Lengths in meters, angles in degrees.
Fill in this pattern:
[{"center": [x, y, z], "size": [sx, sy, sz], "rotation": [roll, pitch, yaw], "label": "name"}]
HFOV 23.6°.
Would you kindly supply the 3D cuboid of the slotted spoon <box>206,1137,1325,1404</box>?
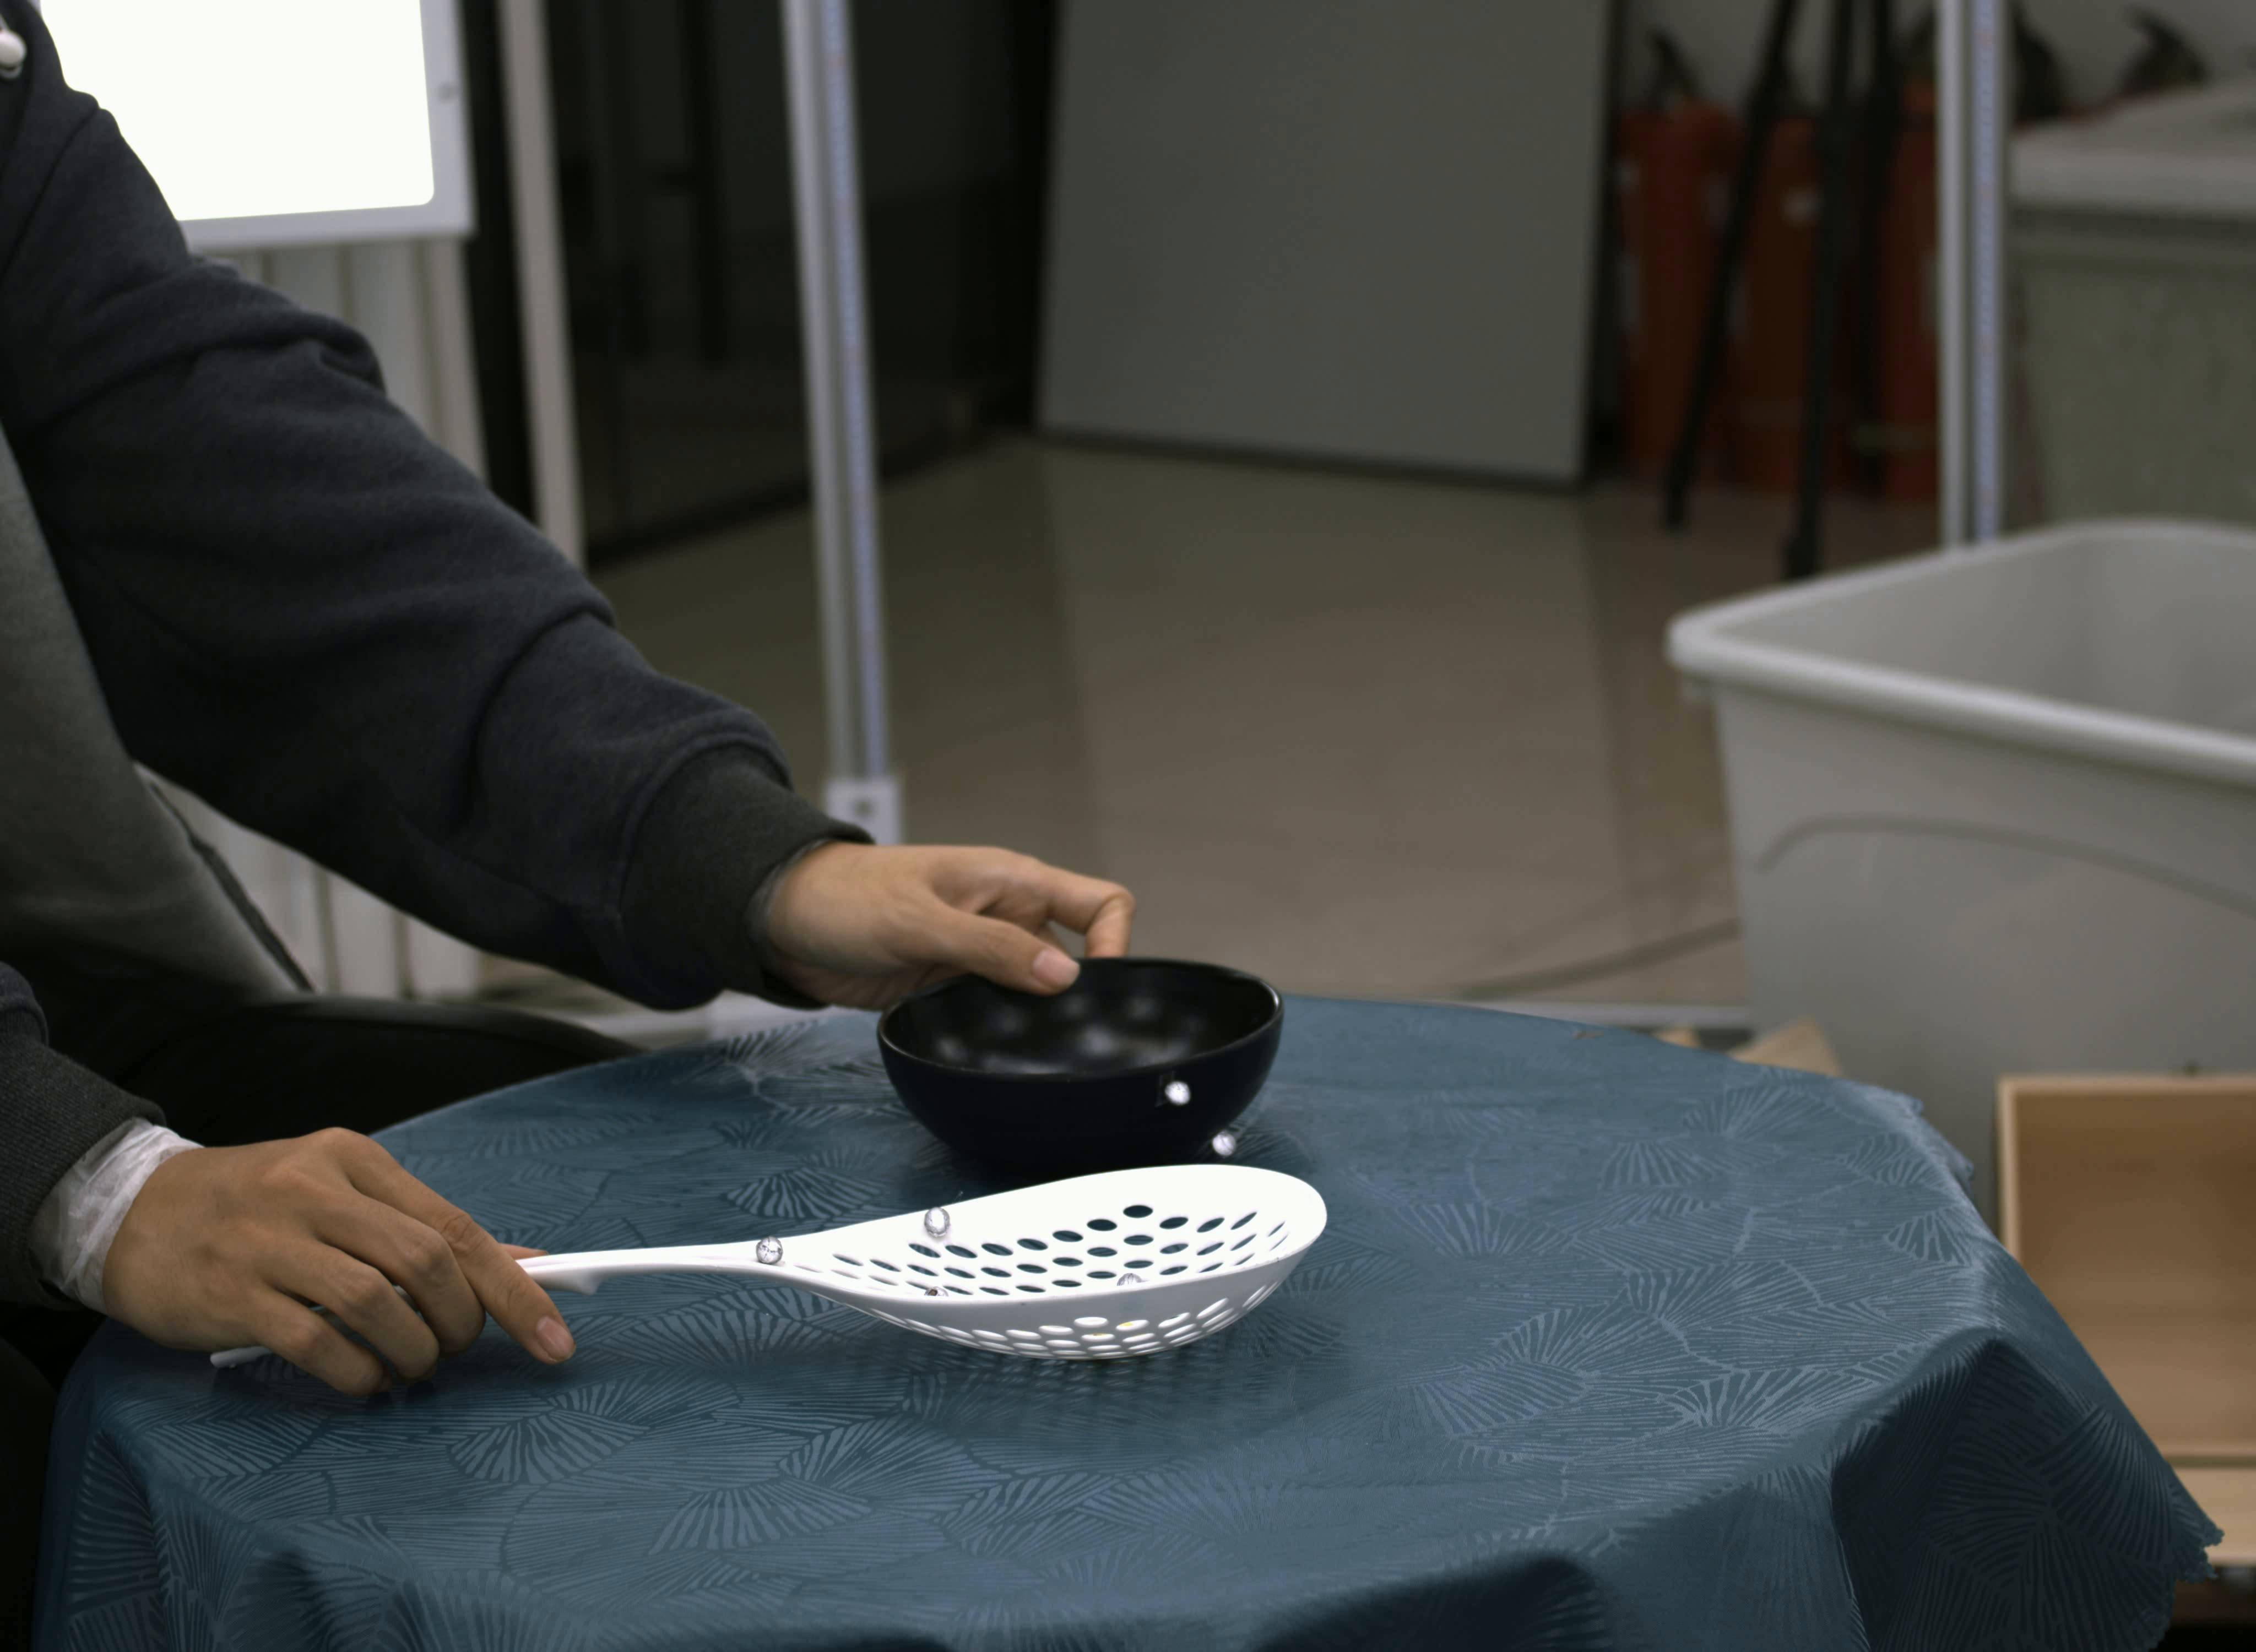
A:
[{"center": [-0.110, 0.141, 1.633], "size": [0.345, 0.051, 0.136], "rotation": [-3, 13, 7], "label": "slotted spoon"}]
